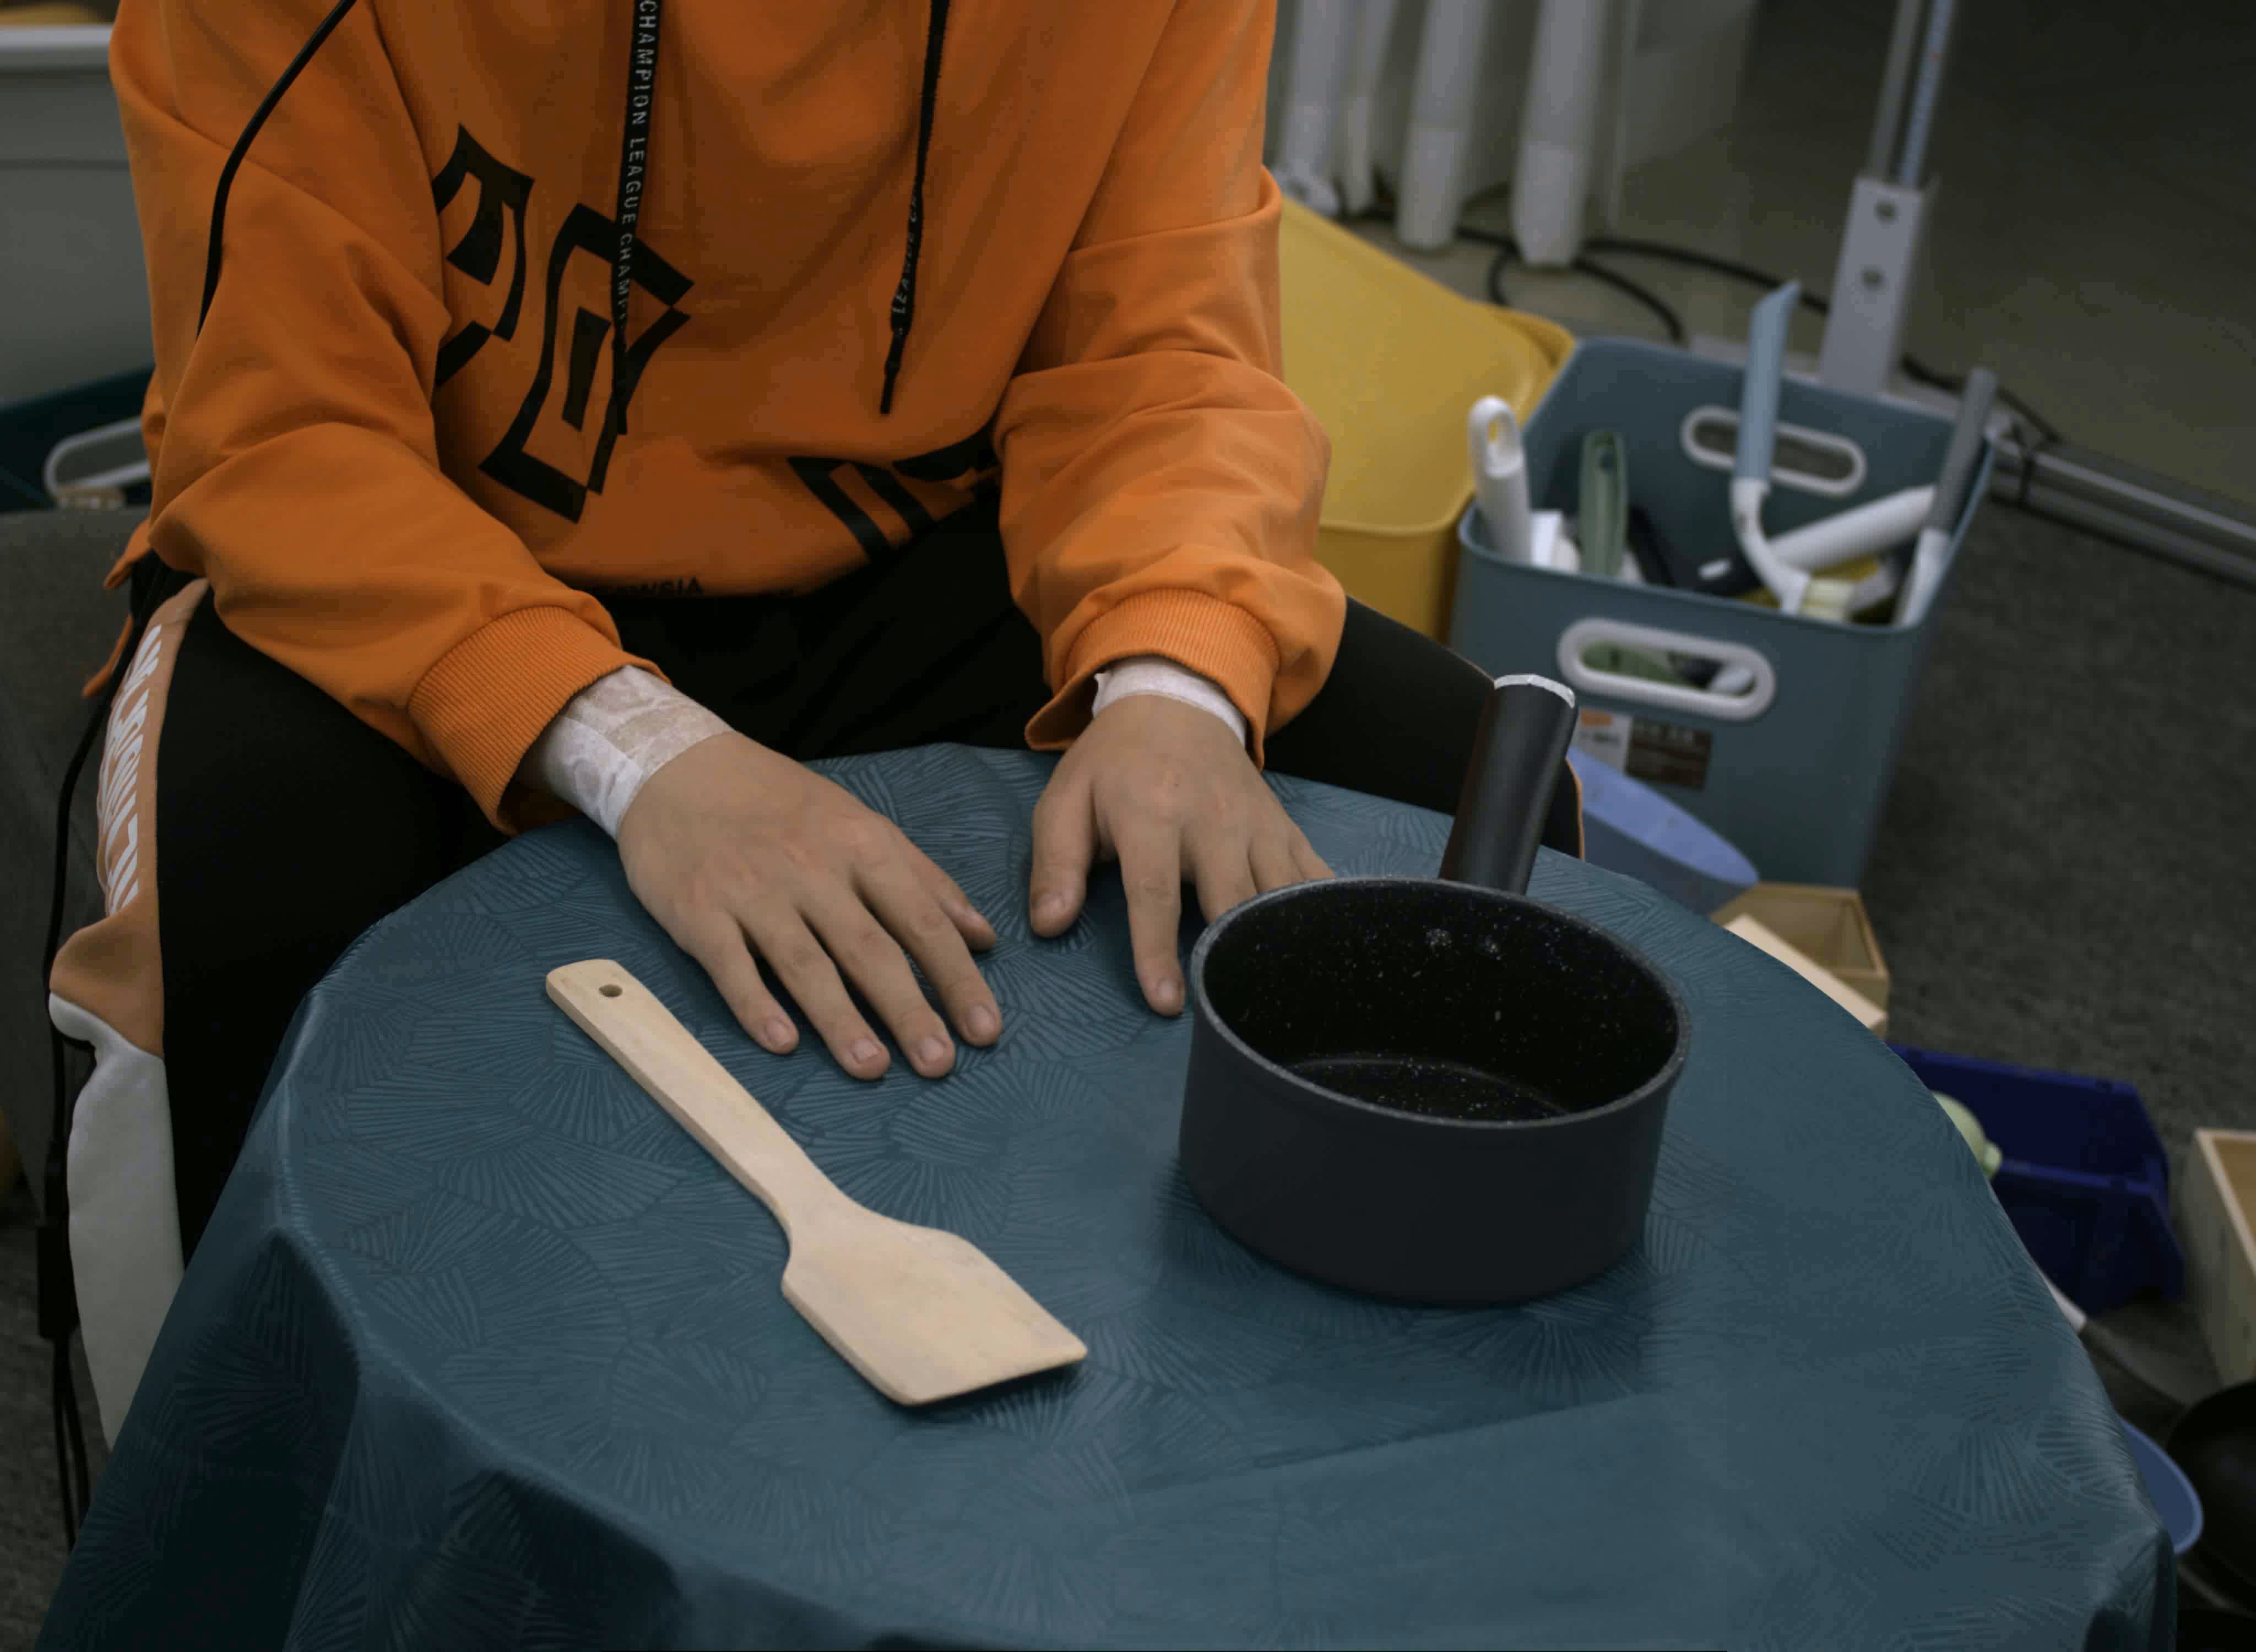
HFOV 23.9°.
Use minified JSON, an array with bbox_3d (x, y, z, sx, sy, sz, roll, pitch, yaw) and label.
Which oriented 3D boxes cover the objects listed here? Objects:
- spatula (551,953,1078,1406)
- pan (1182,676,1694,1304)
[{"bbox_3d":[-0.120,0.113,1.786,0.072,0.010,0.295,-14,33,-29],"label":"spatula"},{"bbox_3d":[0.120,0.053,1.876,0.172,0.086,0.329,12,29,10],"label":"pan"}]
